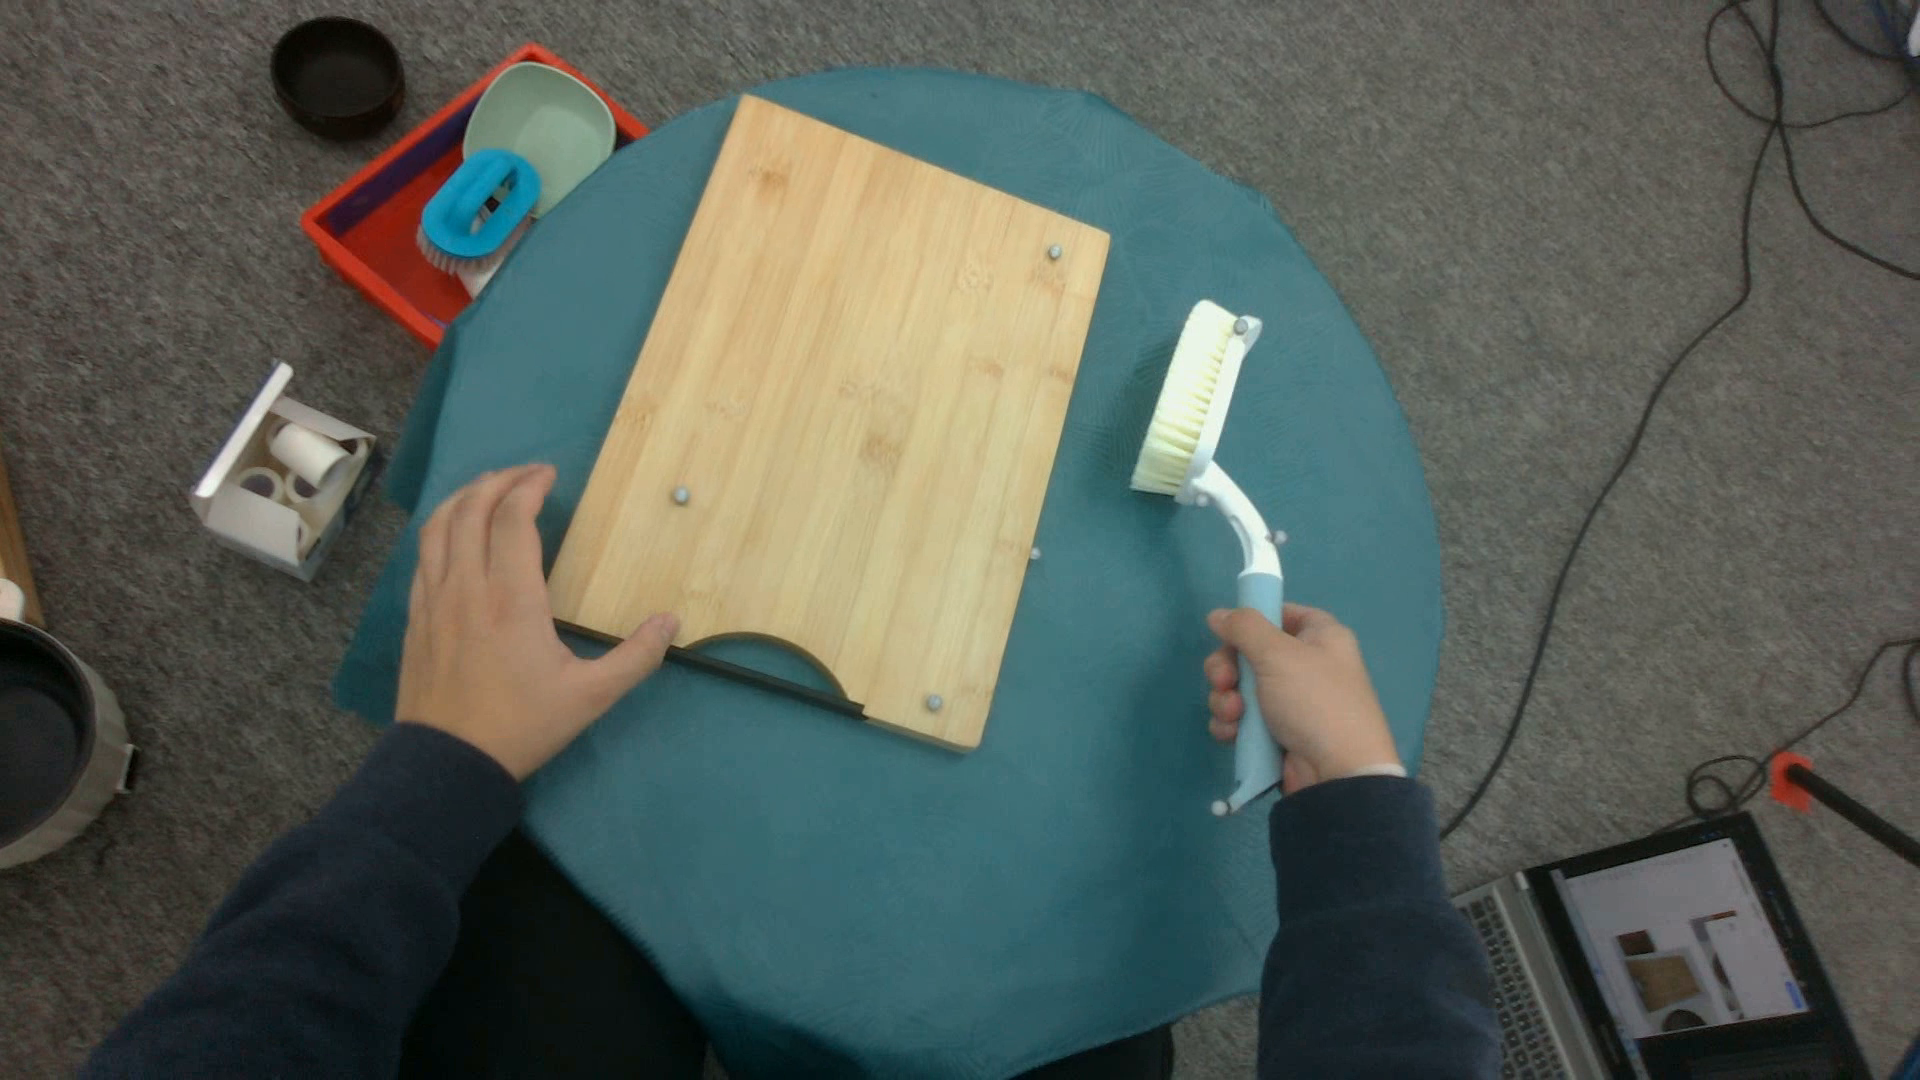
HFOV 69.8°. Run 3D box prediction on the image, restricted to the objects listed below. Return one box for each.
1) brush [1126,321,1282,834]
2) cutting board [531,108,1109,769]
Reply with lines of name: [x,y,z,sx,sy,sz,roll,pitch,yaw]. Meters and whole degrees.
brush: [0.127,0.002,0.769,0.084,0.083,0.327,-11,53,25]
cutting board: [-0.064,-0.068,0.796,0.251,0.023,0.350,18,67,-8]
